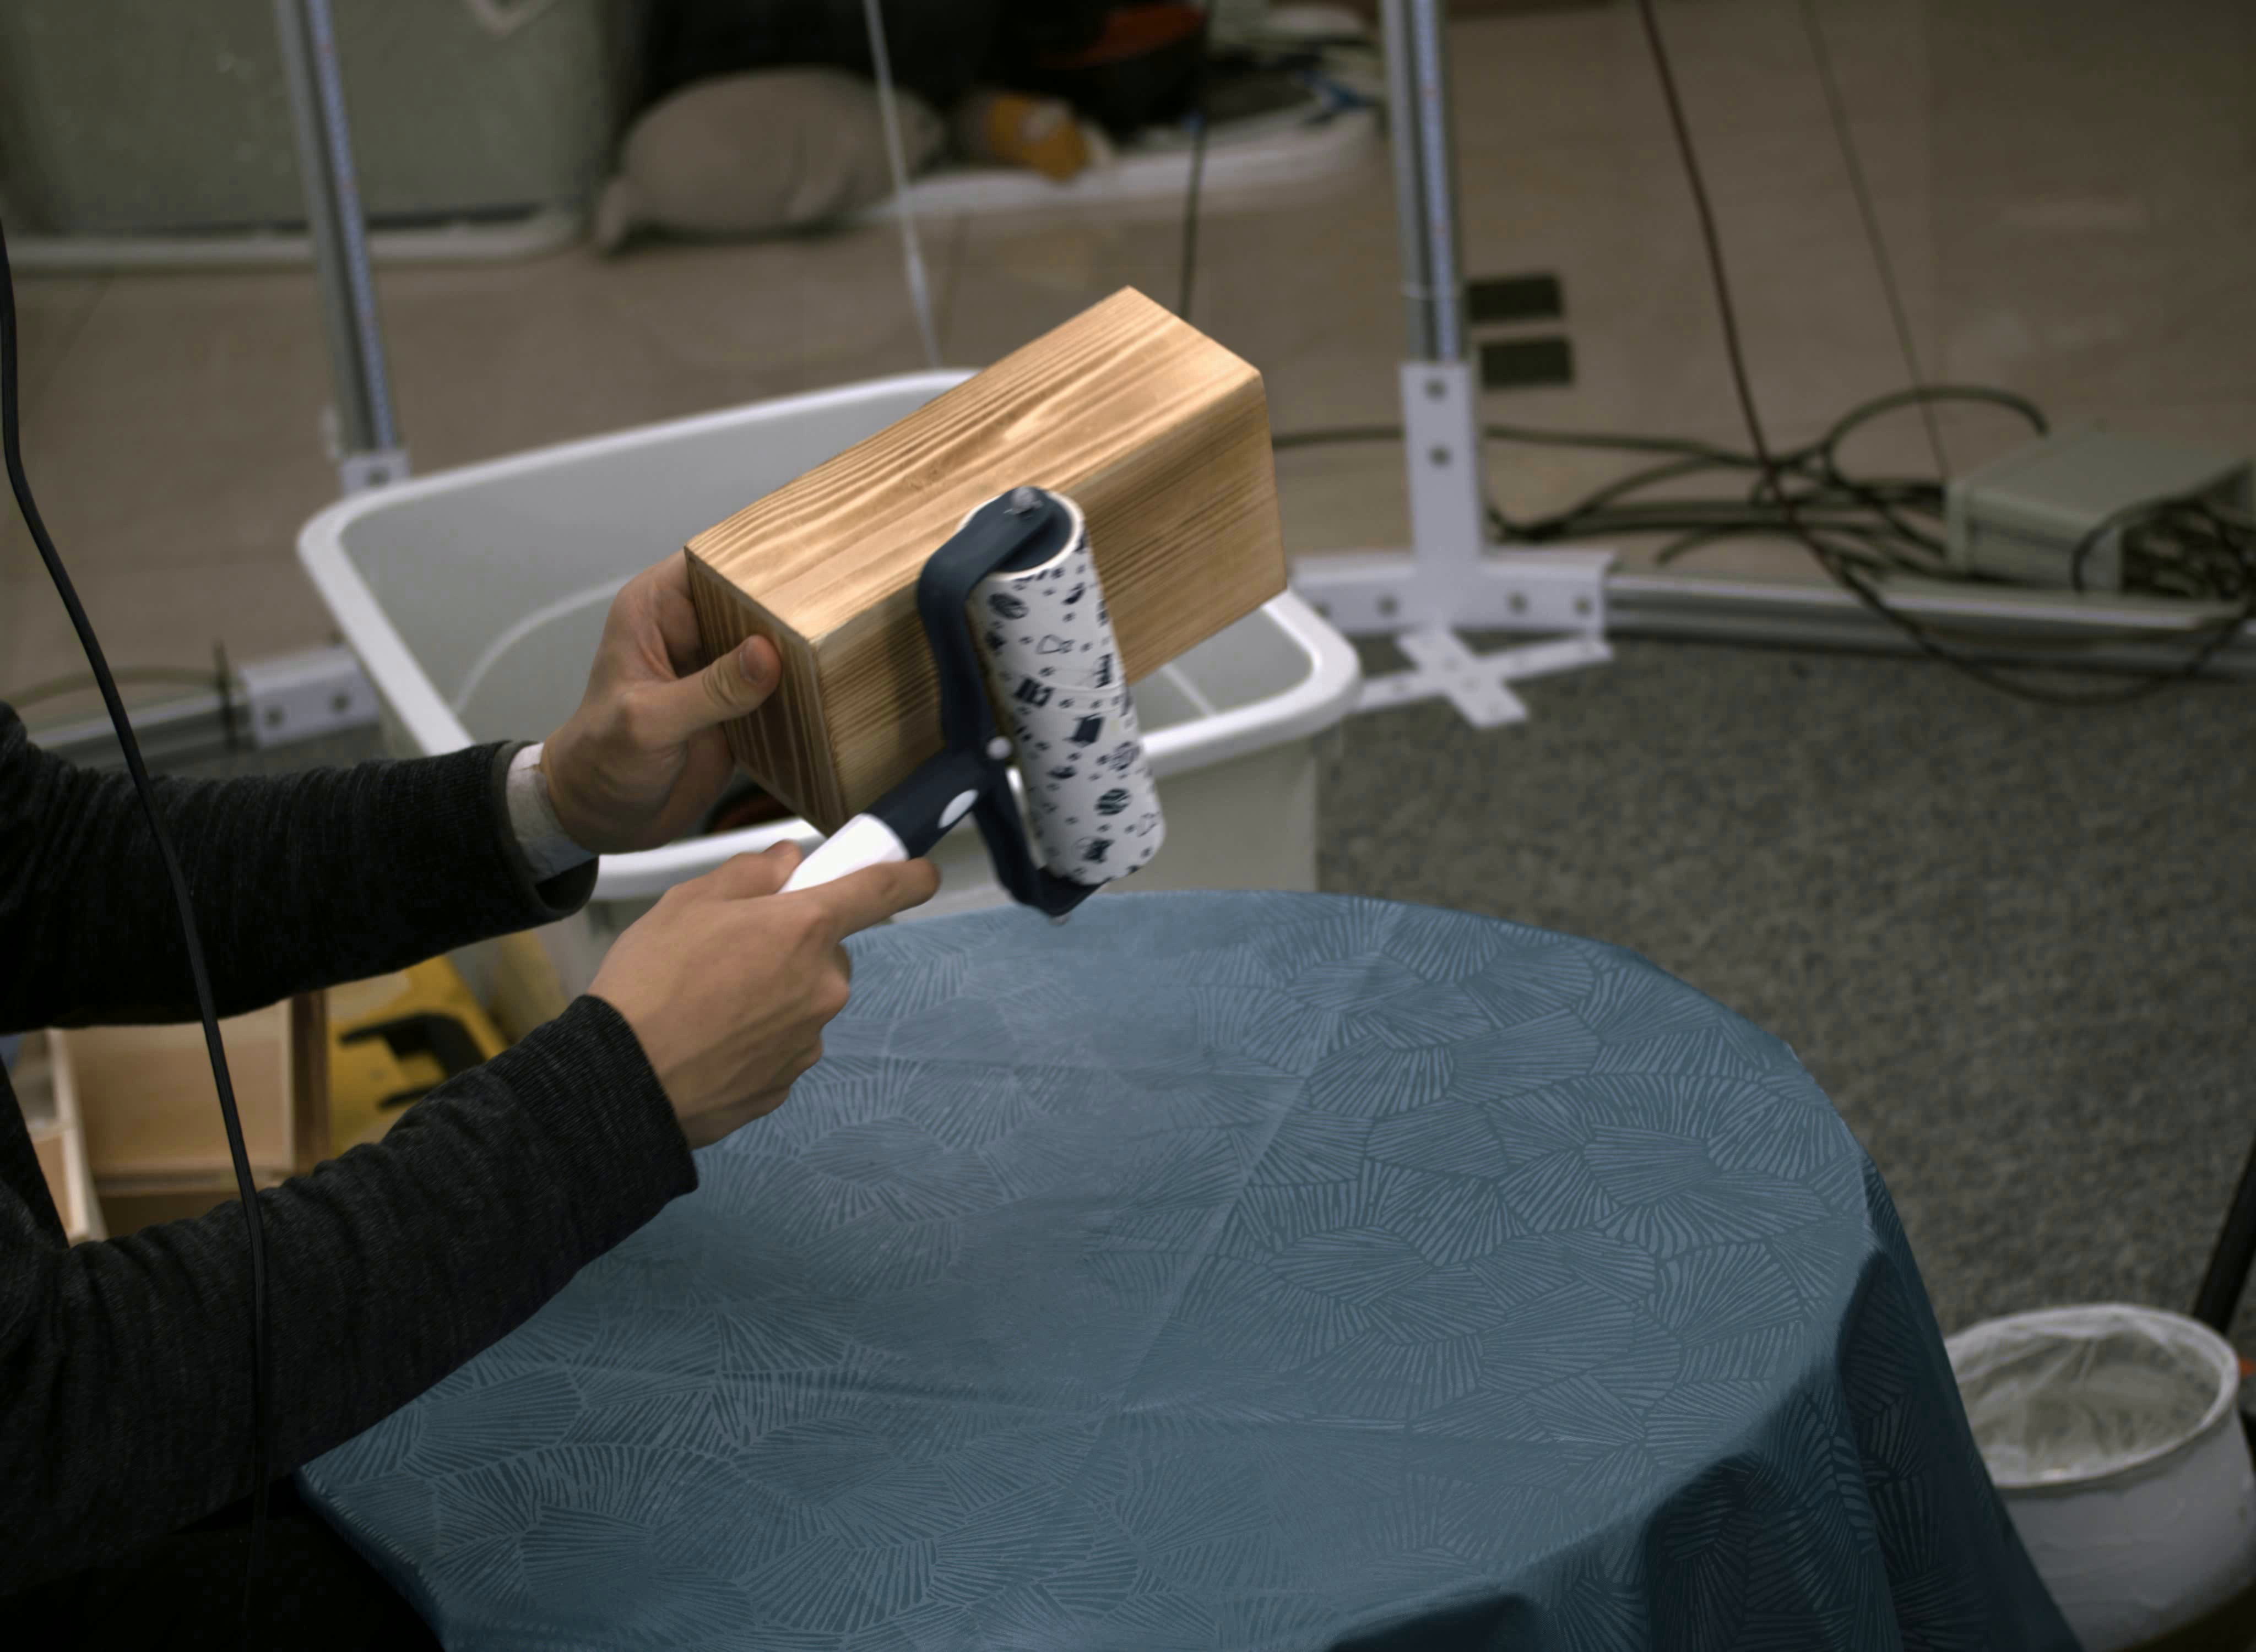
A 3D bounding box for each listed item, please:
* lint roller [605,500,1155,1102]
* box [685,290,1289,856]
[{"bbox_3d":[-0.090,0.019,2.018,0.050,0.179,0.244,26,58,34],"label":"lint roller"},{"bbox_3d":[-0.050,-0.095,2.098,0.210,0.109,0.079,-32,49,-23],"label":"box"}]
